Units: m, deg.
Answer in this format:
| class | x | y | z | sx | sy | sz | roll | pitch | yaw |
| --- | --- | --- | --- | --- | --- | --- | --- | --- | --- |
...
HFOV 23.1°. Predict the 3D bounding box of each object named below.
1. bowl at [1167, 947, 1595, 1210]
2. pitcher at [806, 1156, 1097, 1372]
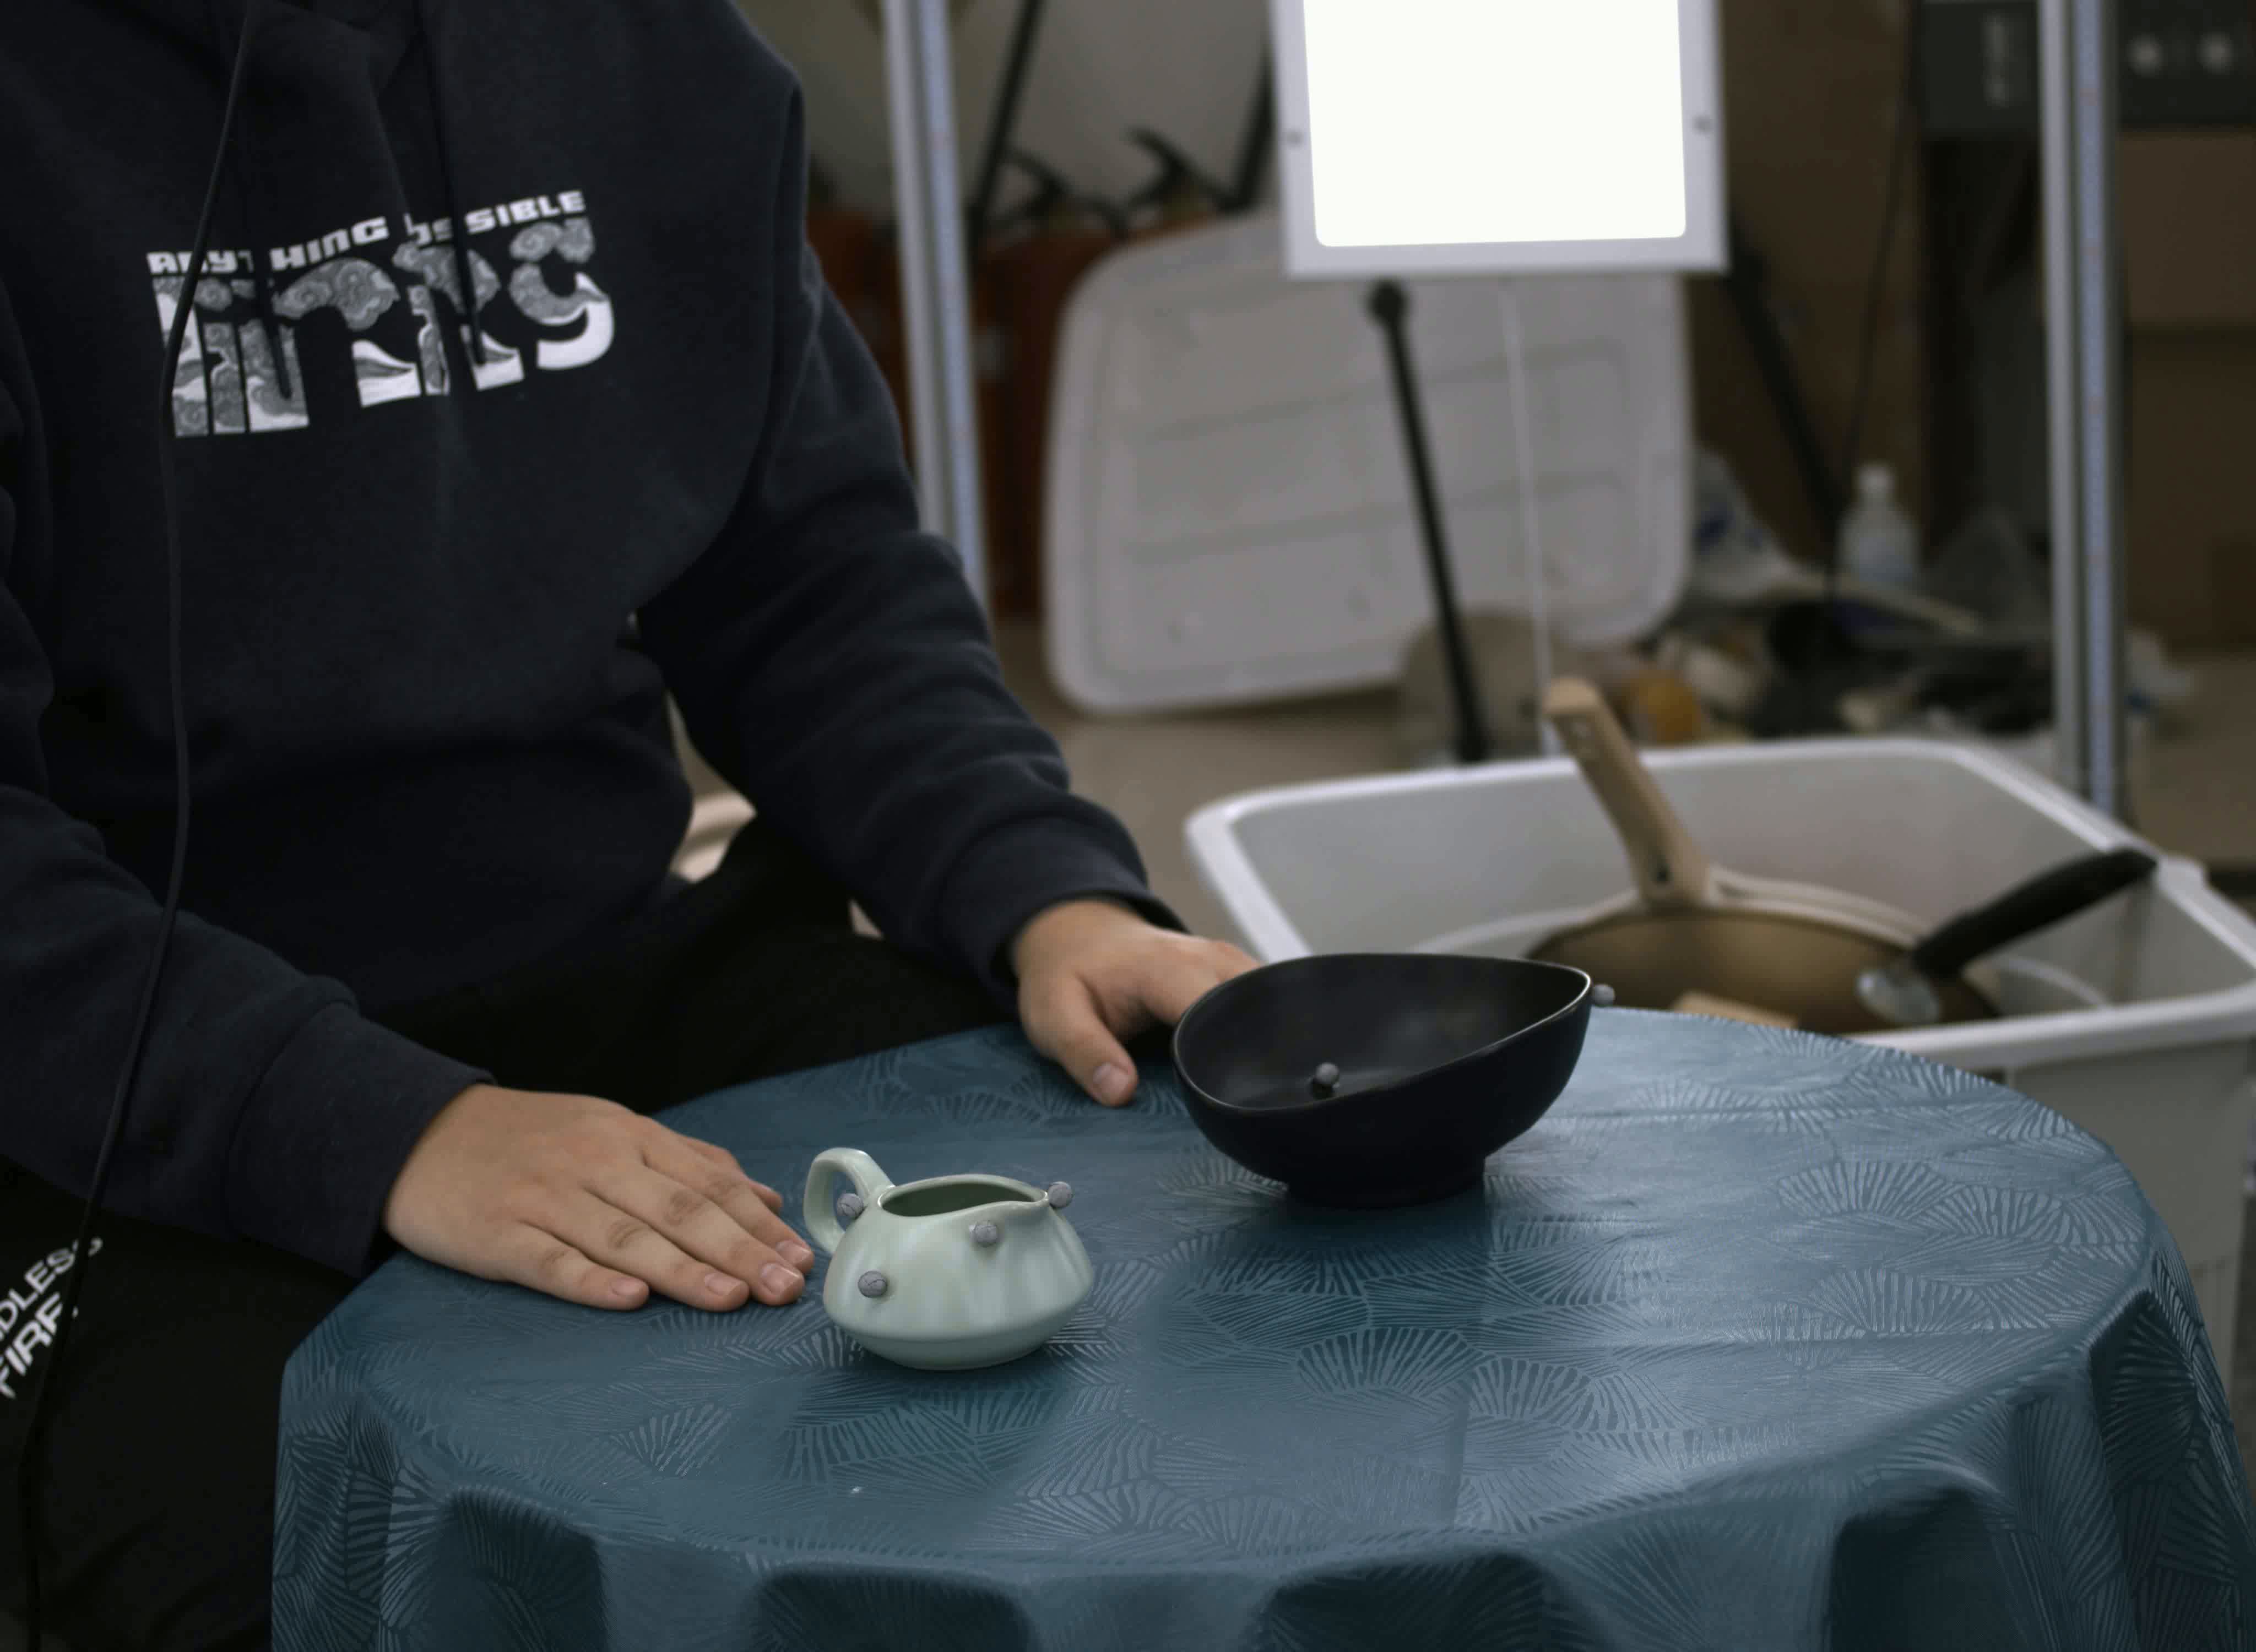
| class | x | y | z | sx | sy | sz | roll | pitch | yaw |
| --- | --- | --- | --- | --- | --- | --- | --- | --- | --- |
| bowl | 0.089 | 0.090 | 1.883 | 0.140 | 0.067 | 0.166 | 4 | 17 | 35 |
| pitcher | -0.062 | 0.138 | 1.754 | 0.110 | 0.060 | 0.084 | 4 | 15 | 43 |
